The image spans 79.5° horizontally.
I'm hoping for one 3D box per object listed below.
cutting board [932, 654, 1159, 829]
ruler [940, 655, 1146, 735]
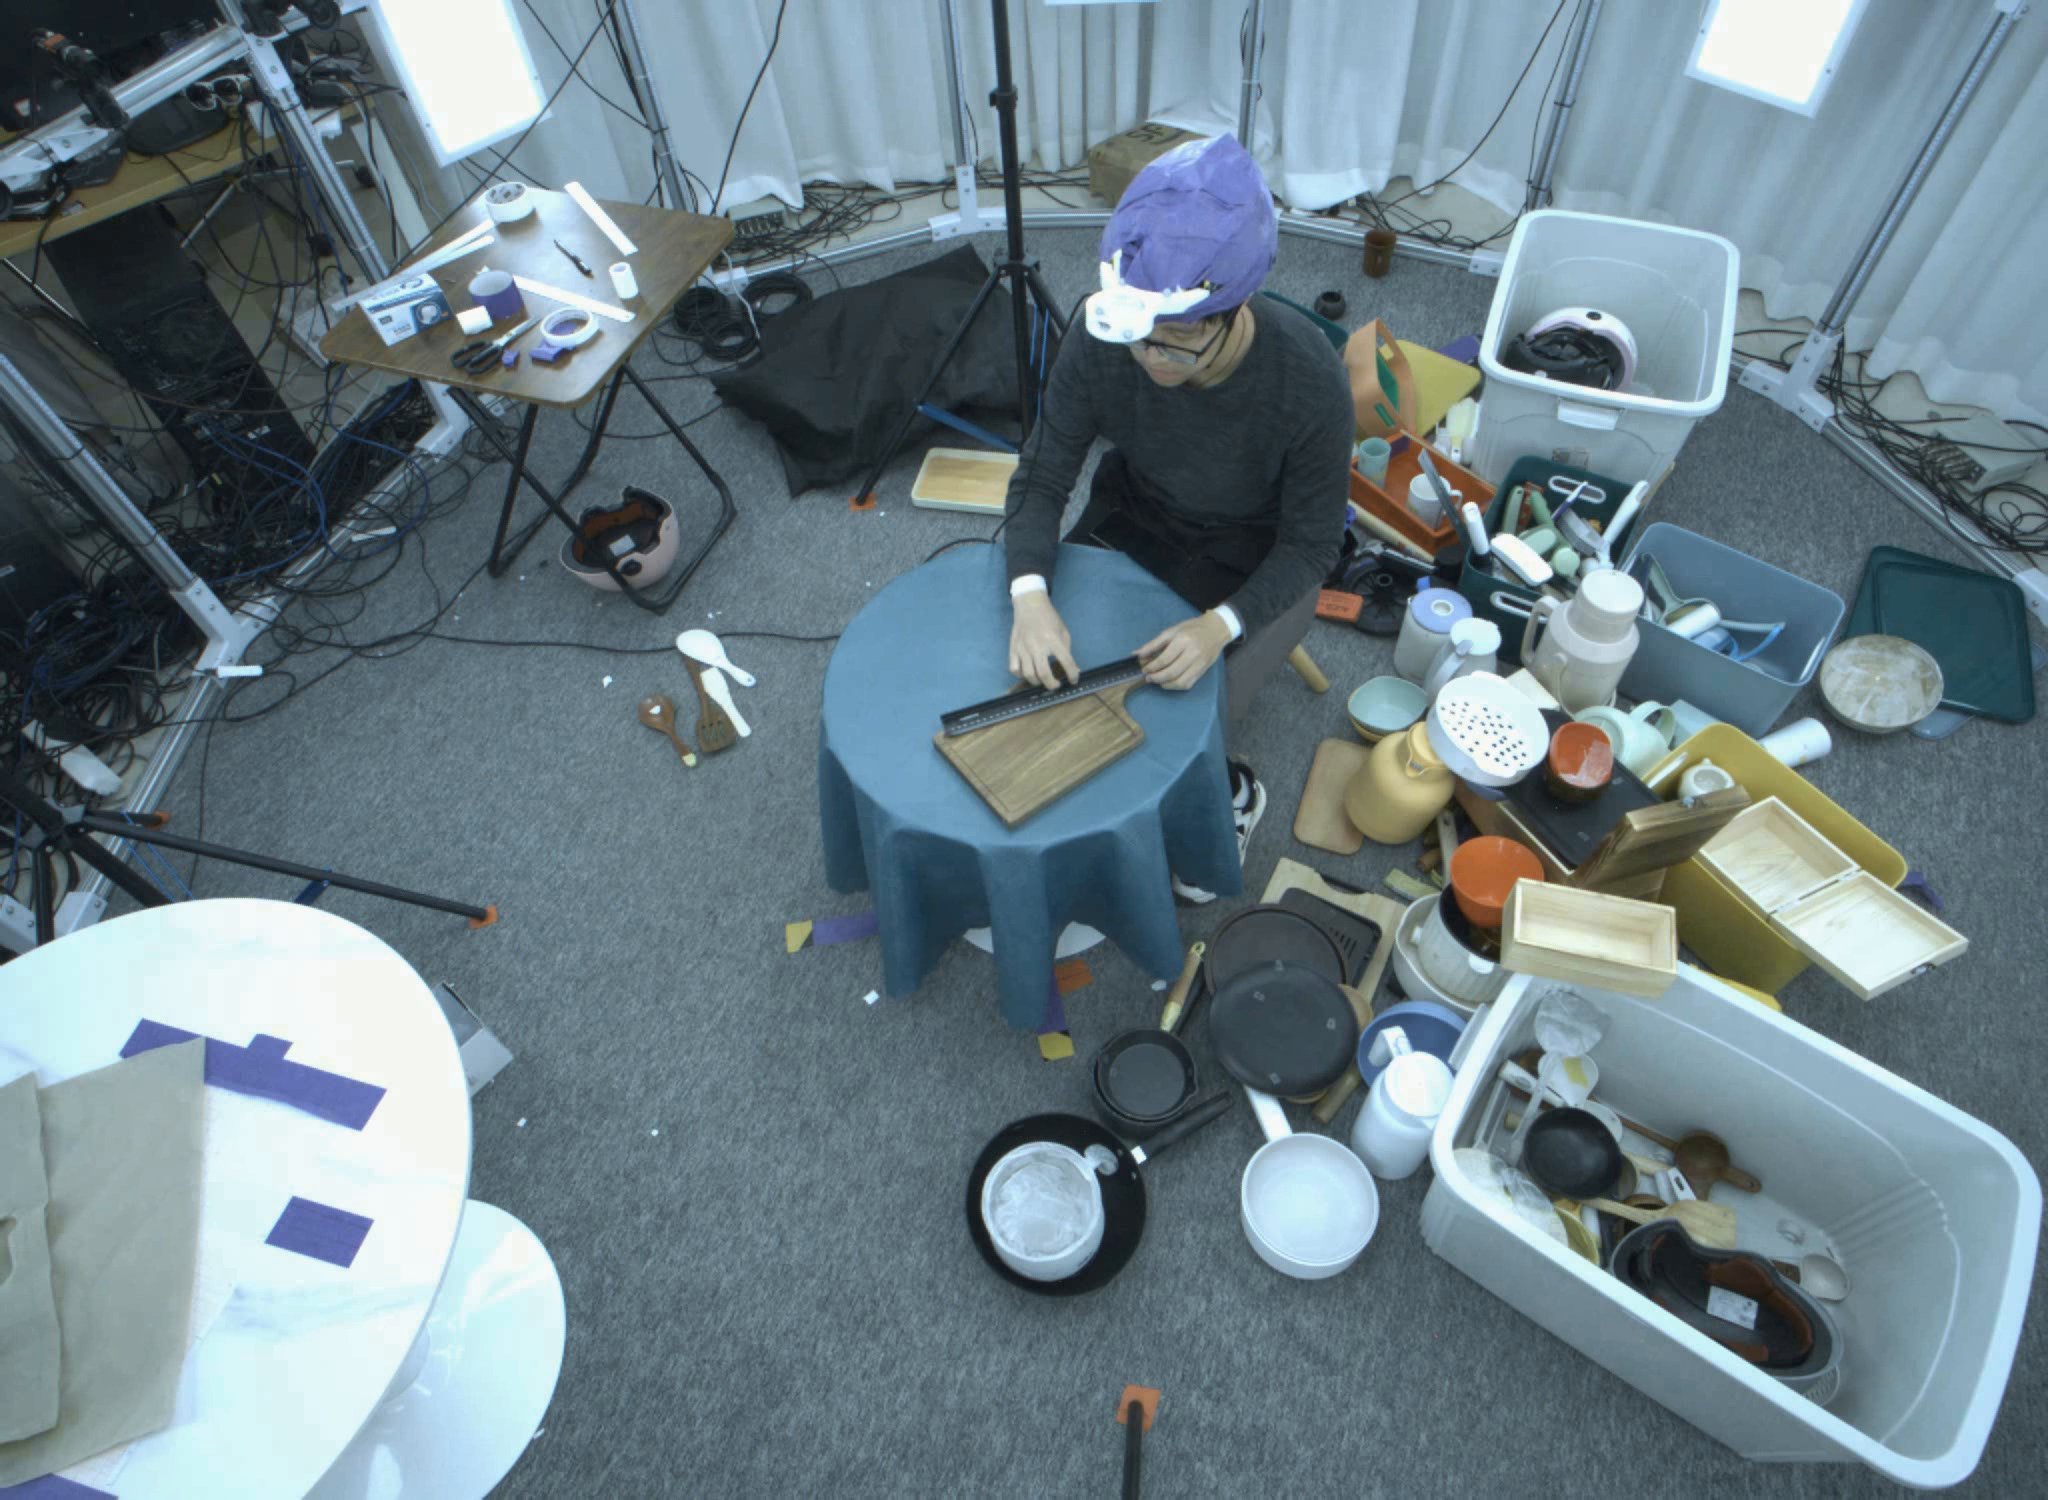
[{"bbox_3d":[0.061,-0.043,1.803,0.355,0.023,0.197,-33,60,-20],"label":"cutting board"},{"bbox_3d":[0.029,-0.083,1.811,0.314,0.017,0.038,-17,58,-10],"label":"ruler"}]
